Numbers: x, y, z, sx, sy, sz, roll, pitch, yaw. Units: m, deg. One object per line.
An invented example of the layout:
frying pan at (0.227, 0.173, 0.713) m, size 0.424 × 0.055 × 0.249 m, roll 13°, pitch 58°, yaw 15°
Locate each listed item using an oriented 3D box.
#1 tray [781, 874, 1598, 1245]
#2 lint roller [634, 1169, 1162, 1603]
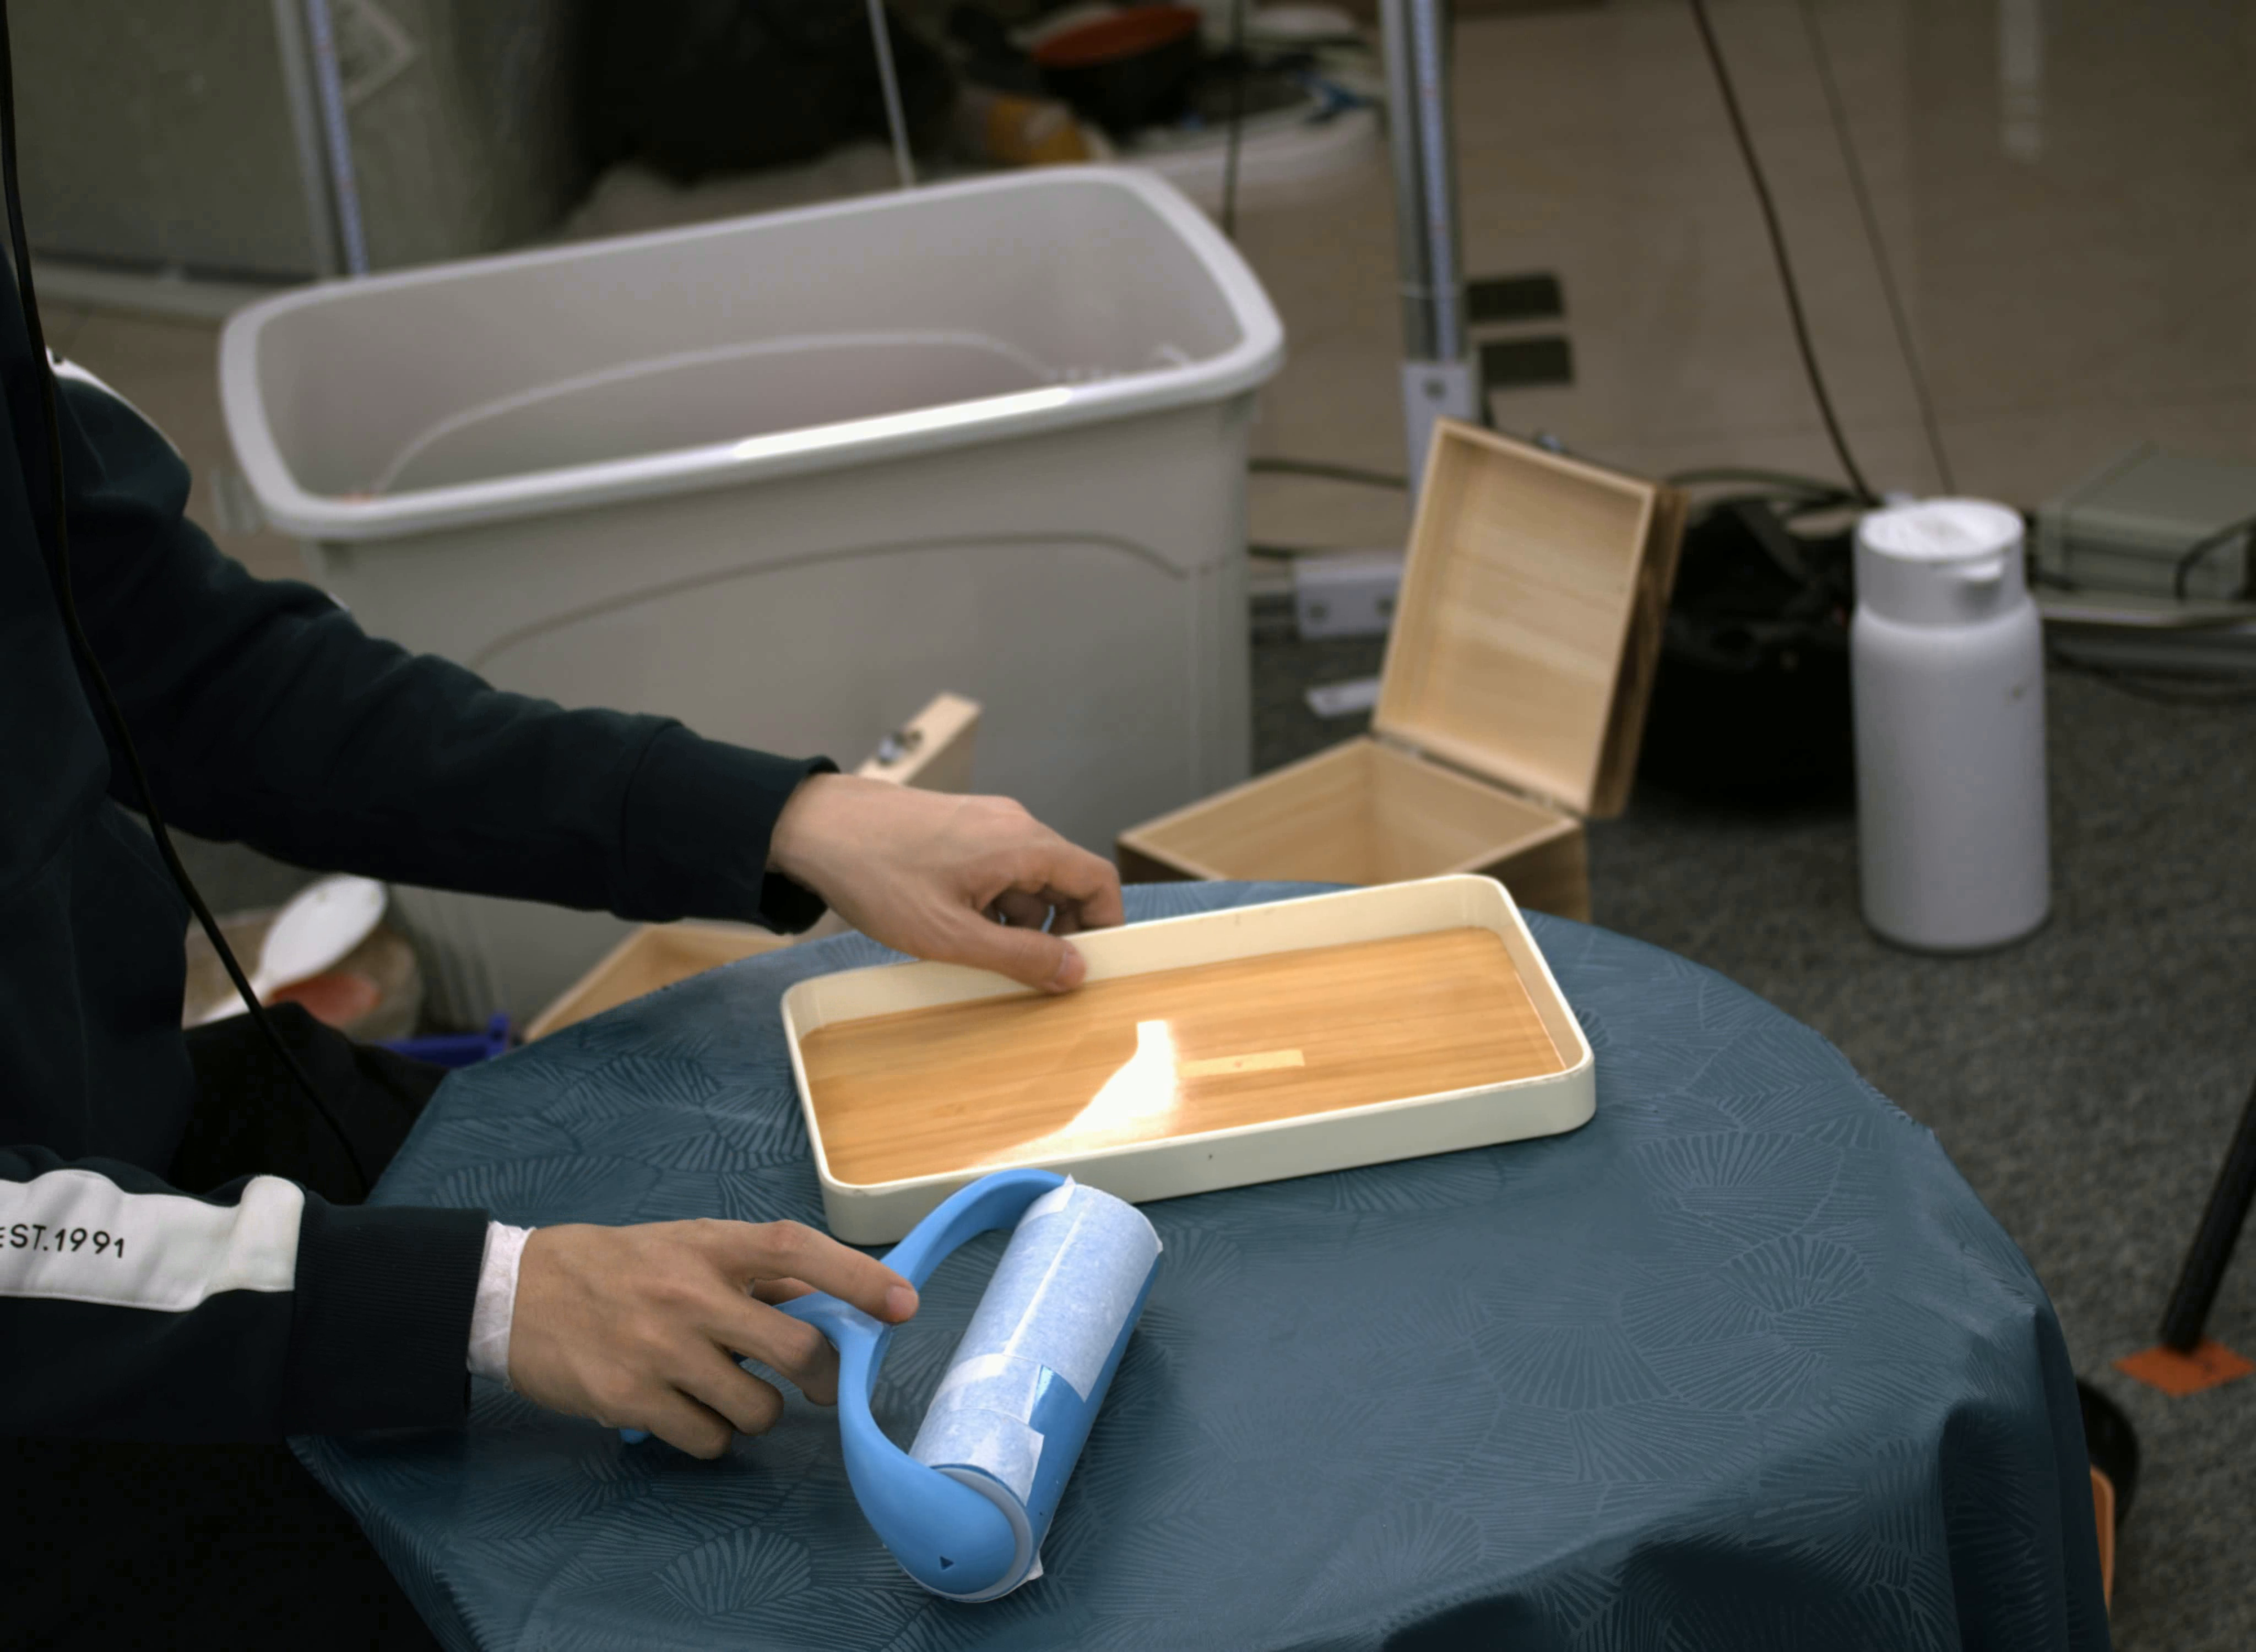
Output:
tray at (0.020, 0.089, 2.215) m, size 0.299 × 0.028 × 0.189 m, roll -9°, pitch 25°, yaw -5°
lint roller at (-0.090, 0.195, 1.982) m, size 0.180 × 0.069 × 0.225 m, roll -1°, pitch 28°, yaw 10°
